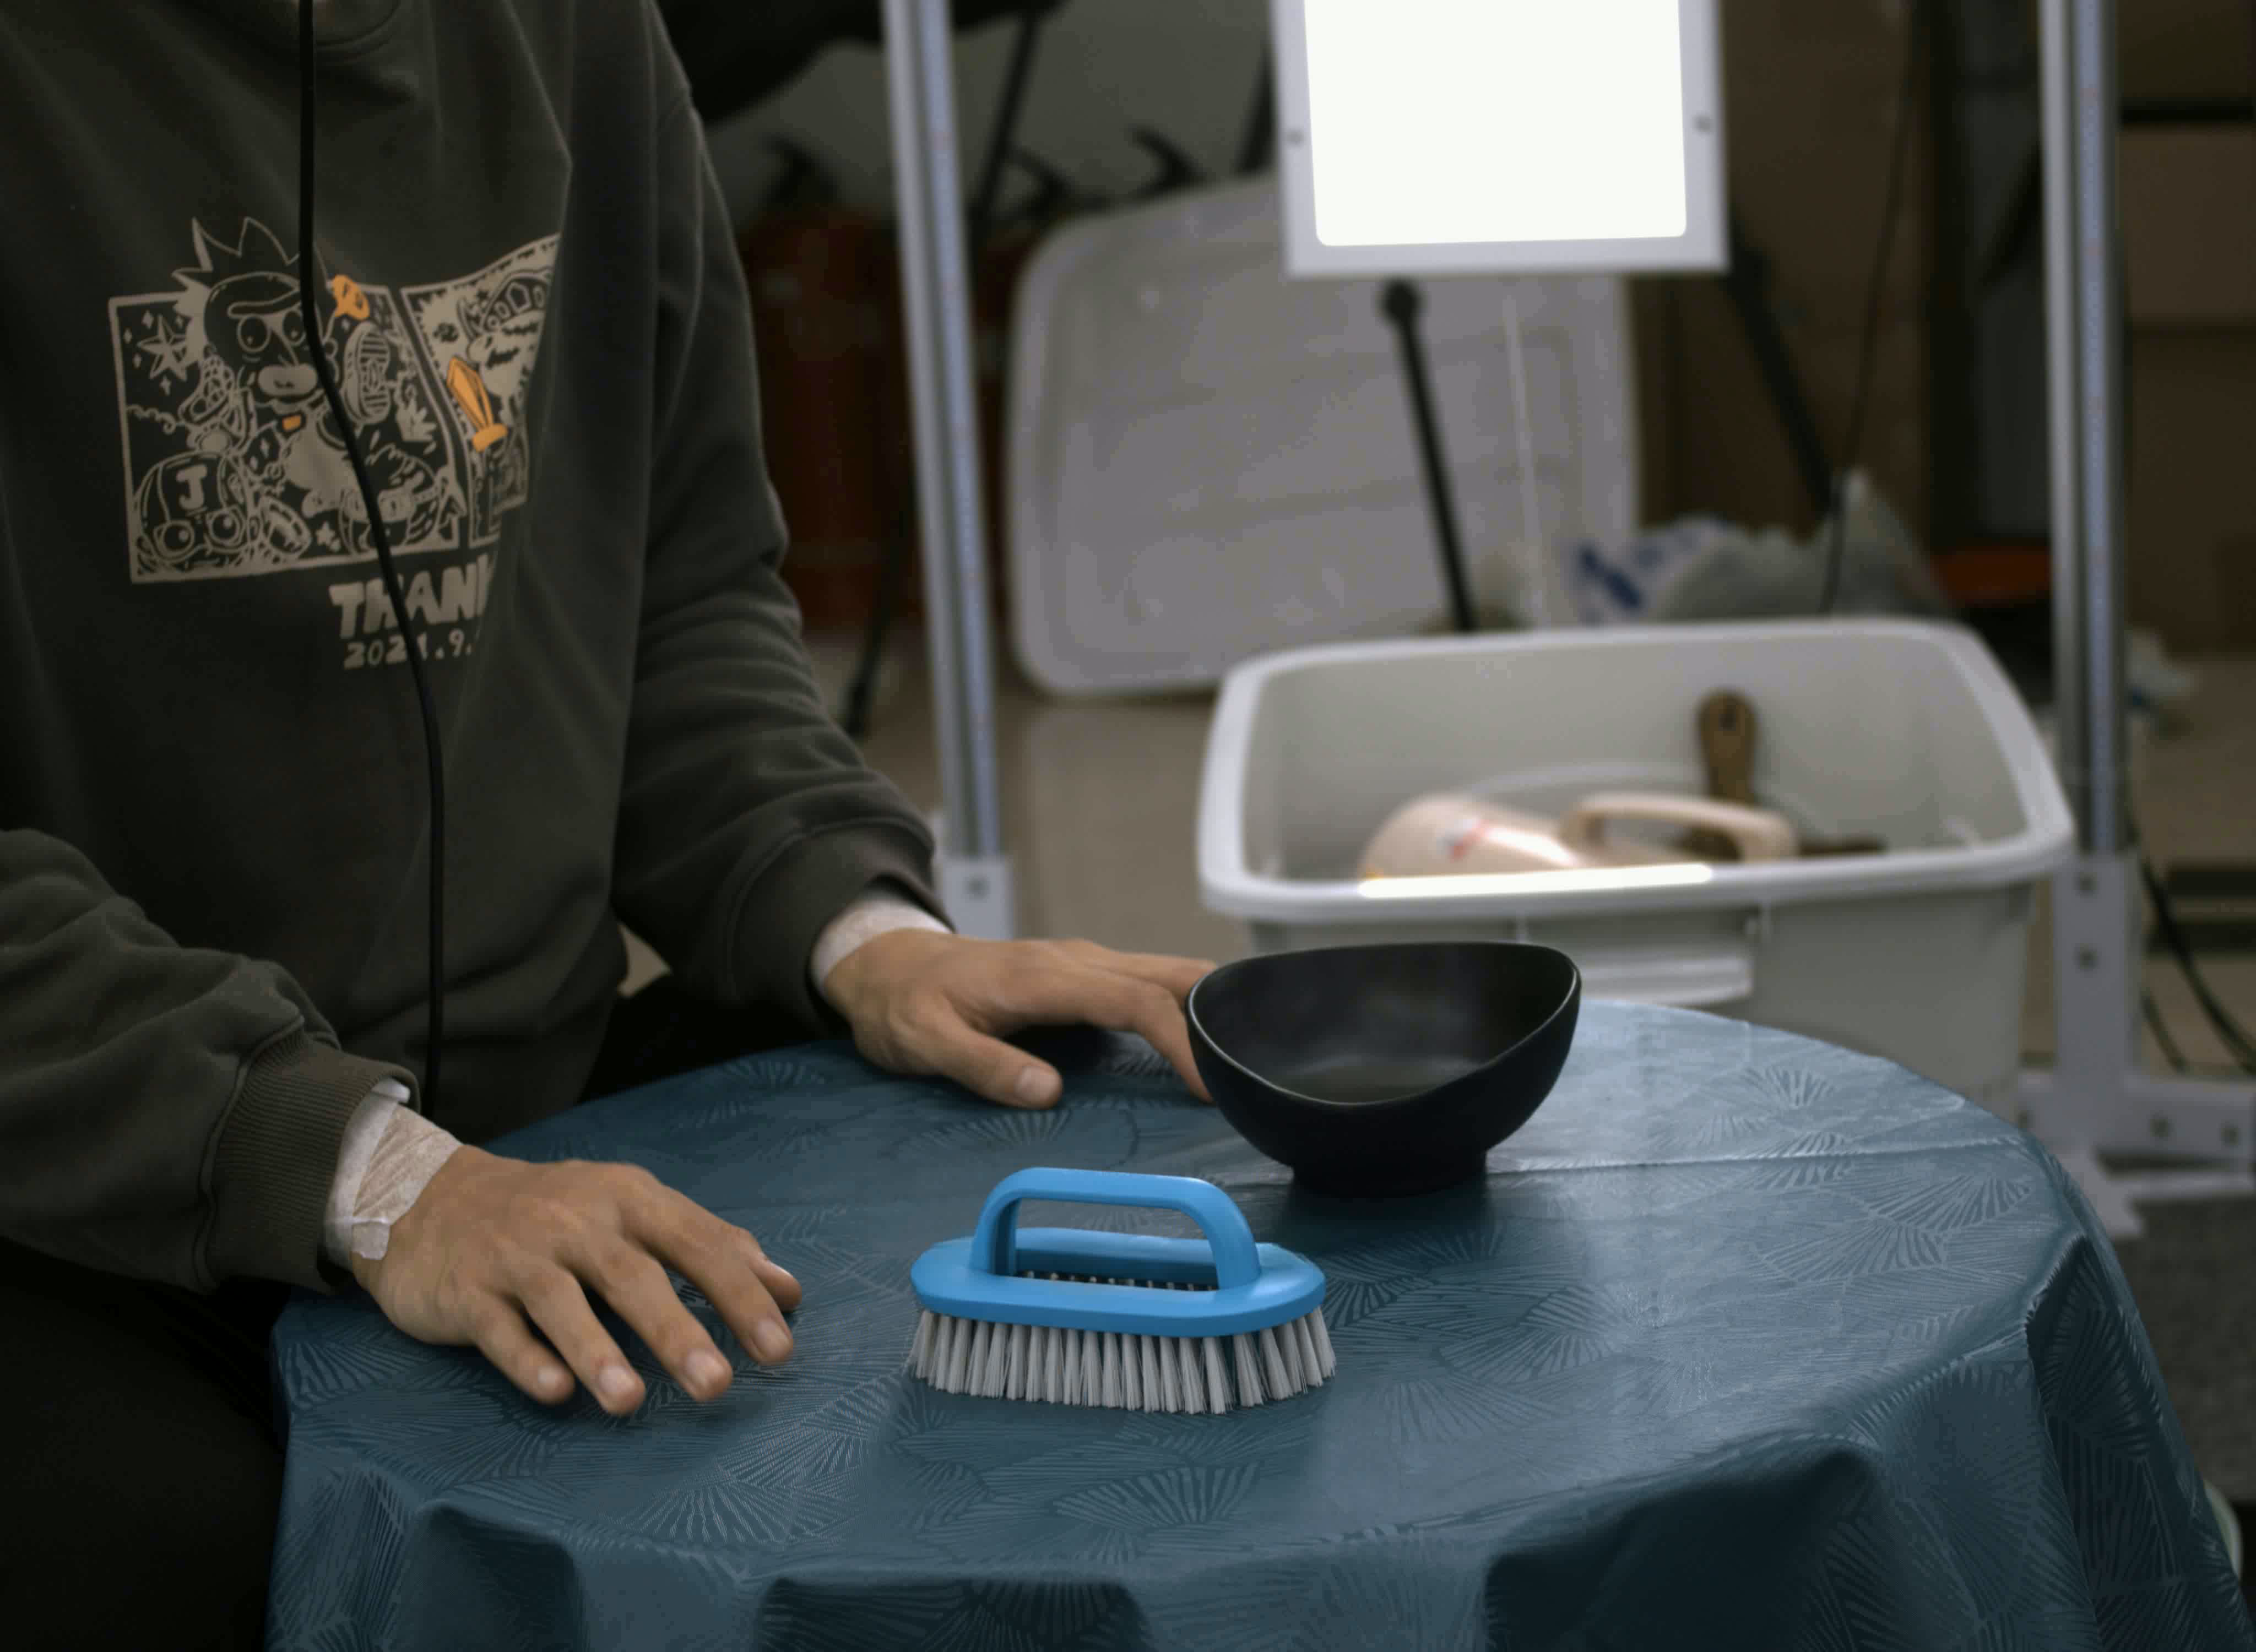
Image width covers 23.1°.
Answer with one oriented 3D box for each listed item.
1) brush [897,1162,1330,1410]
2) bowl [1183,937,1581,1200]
[{"bbox_3d":[-0.003,0.138,1.714,0.144,0.064,0.082,4,12,29],"label":"brush"},{"bbox_3d":[0.090,0.087,1.892,0.138,0.067,0.169,-4,15,8],"label":"bowl"}]
